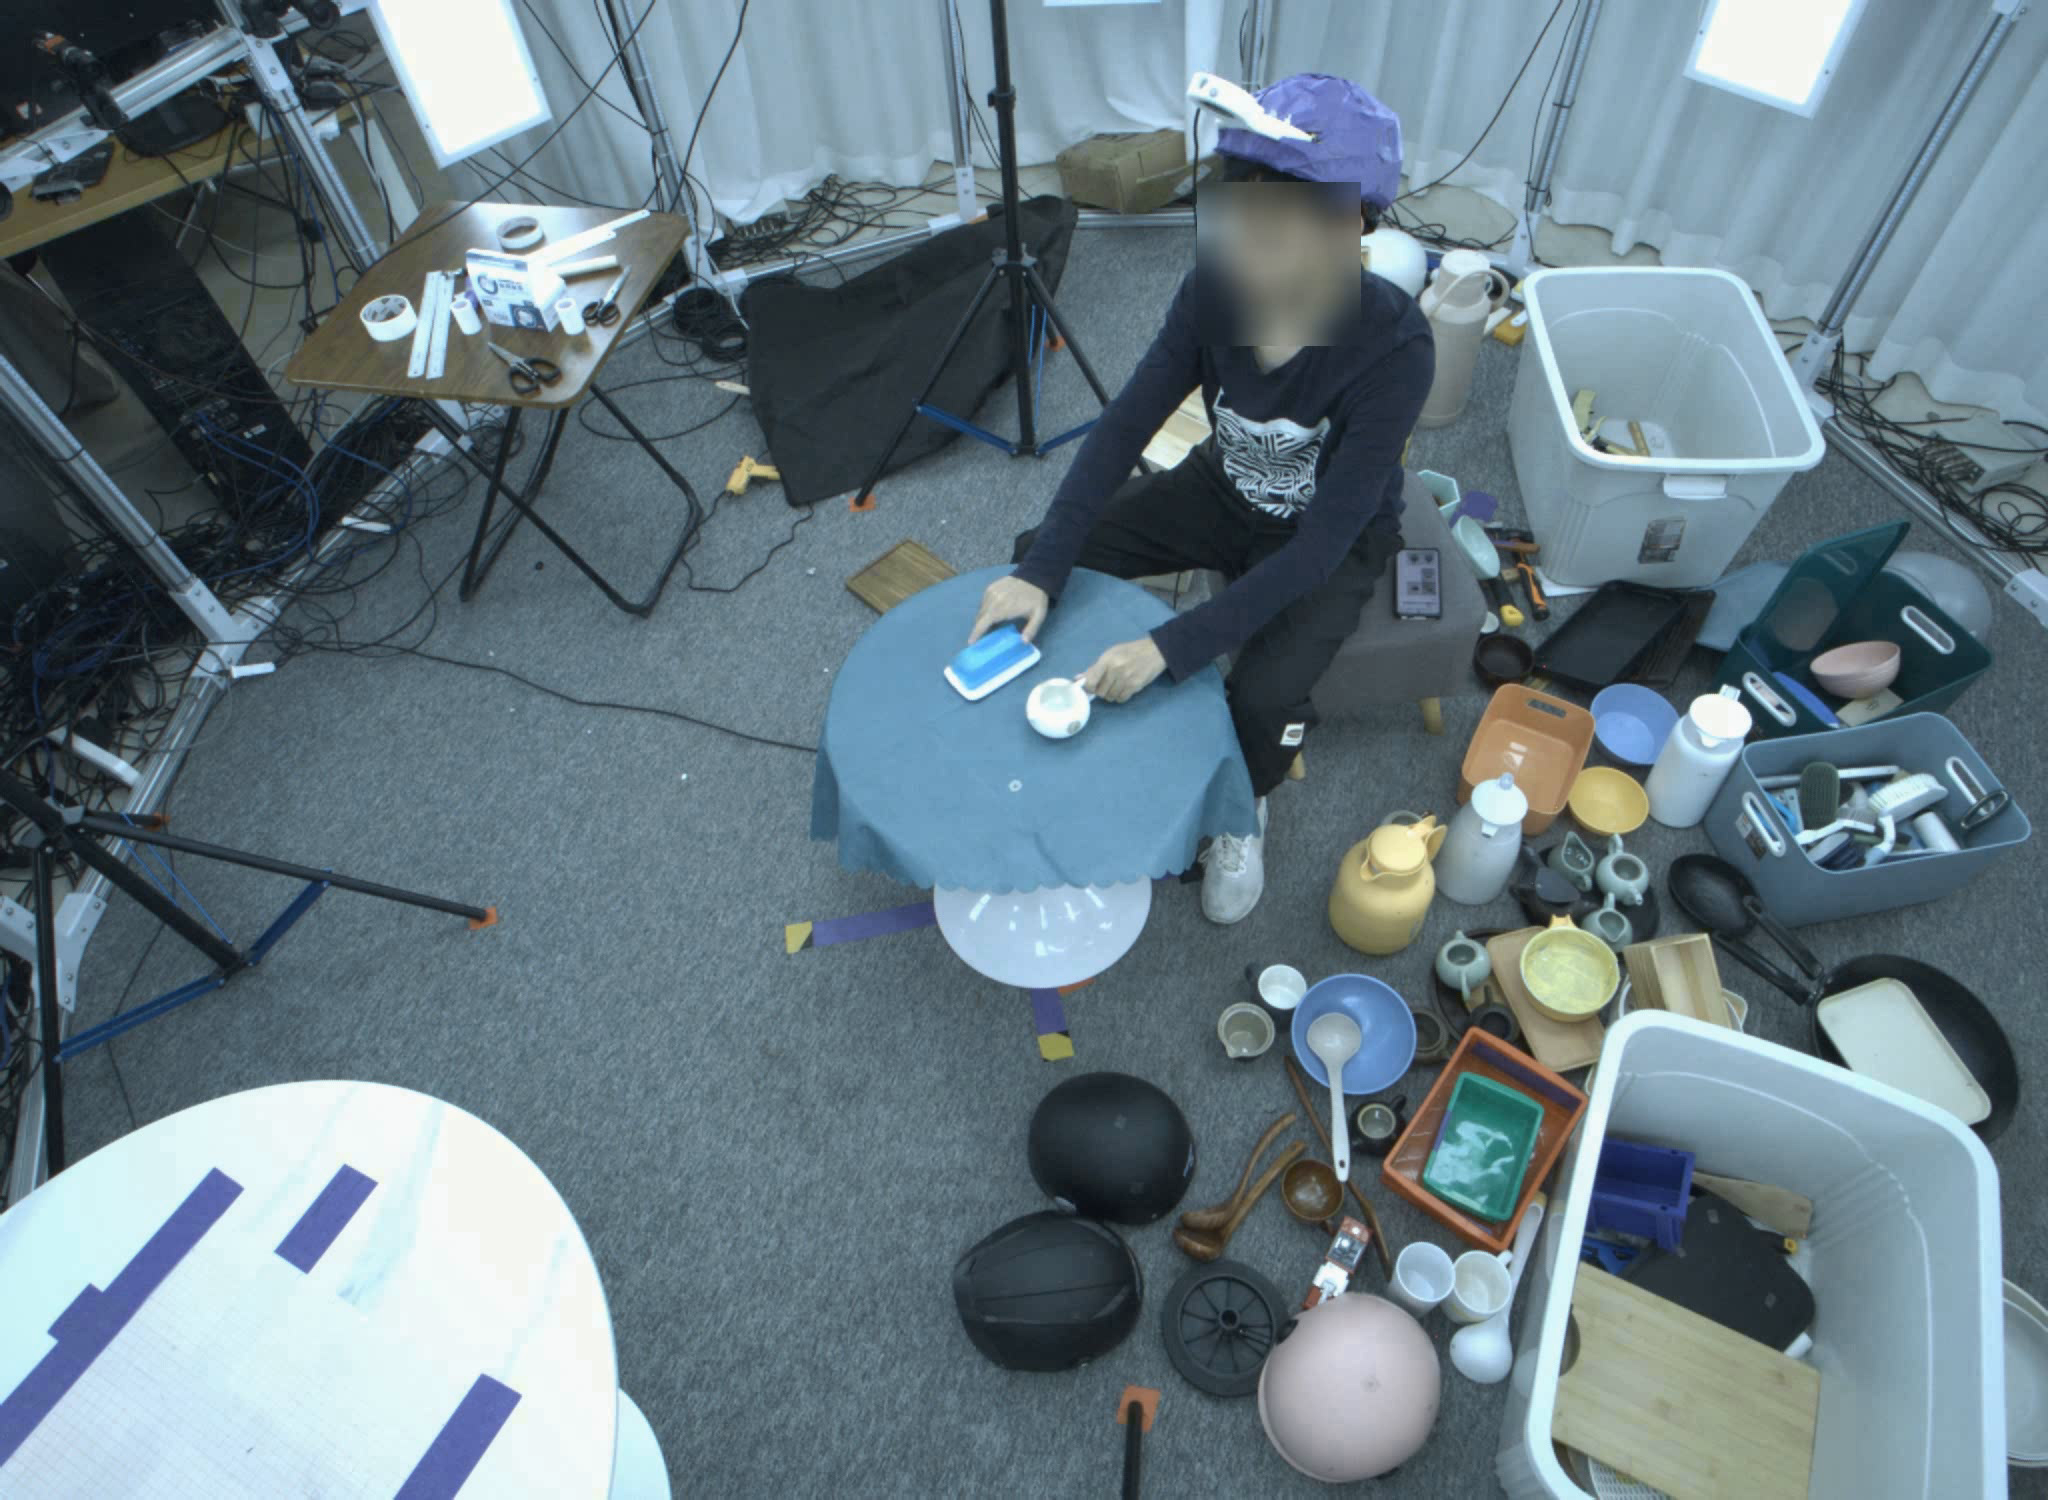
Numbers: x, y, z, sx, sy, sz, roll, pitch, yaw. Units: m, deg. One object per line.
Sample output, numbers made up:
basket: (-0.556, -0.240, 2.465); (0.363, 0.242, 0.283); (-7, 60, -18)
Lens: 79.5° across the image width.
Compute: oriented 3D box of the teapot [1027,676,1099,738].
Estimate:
teapot: (0.059, -0.066, 1.790); (0.128, 0.057, 0.091); (-39, 57, -22)

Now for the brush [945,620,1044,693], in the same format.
brush: (-0.045, -0.149, 1.851); (0.145, 0.056, 0.082); (-32, 61, -16)
